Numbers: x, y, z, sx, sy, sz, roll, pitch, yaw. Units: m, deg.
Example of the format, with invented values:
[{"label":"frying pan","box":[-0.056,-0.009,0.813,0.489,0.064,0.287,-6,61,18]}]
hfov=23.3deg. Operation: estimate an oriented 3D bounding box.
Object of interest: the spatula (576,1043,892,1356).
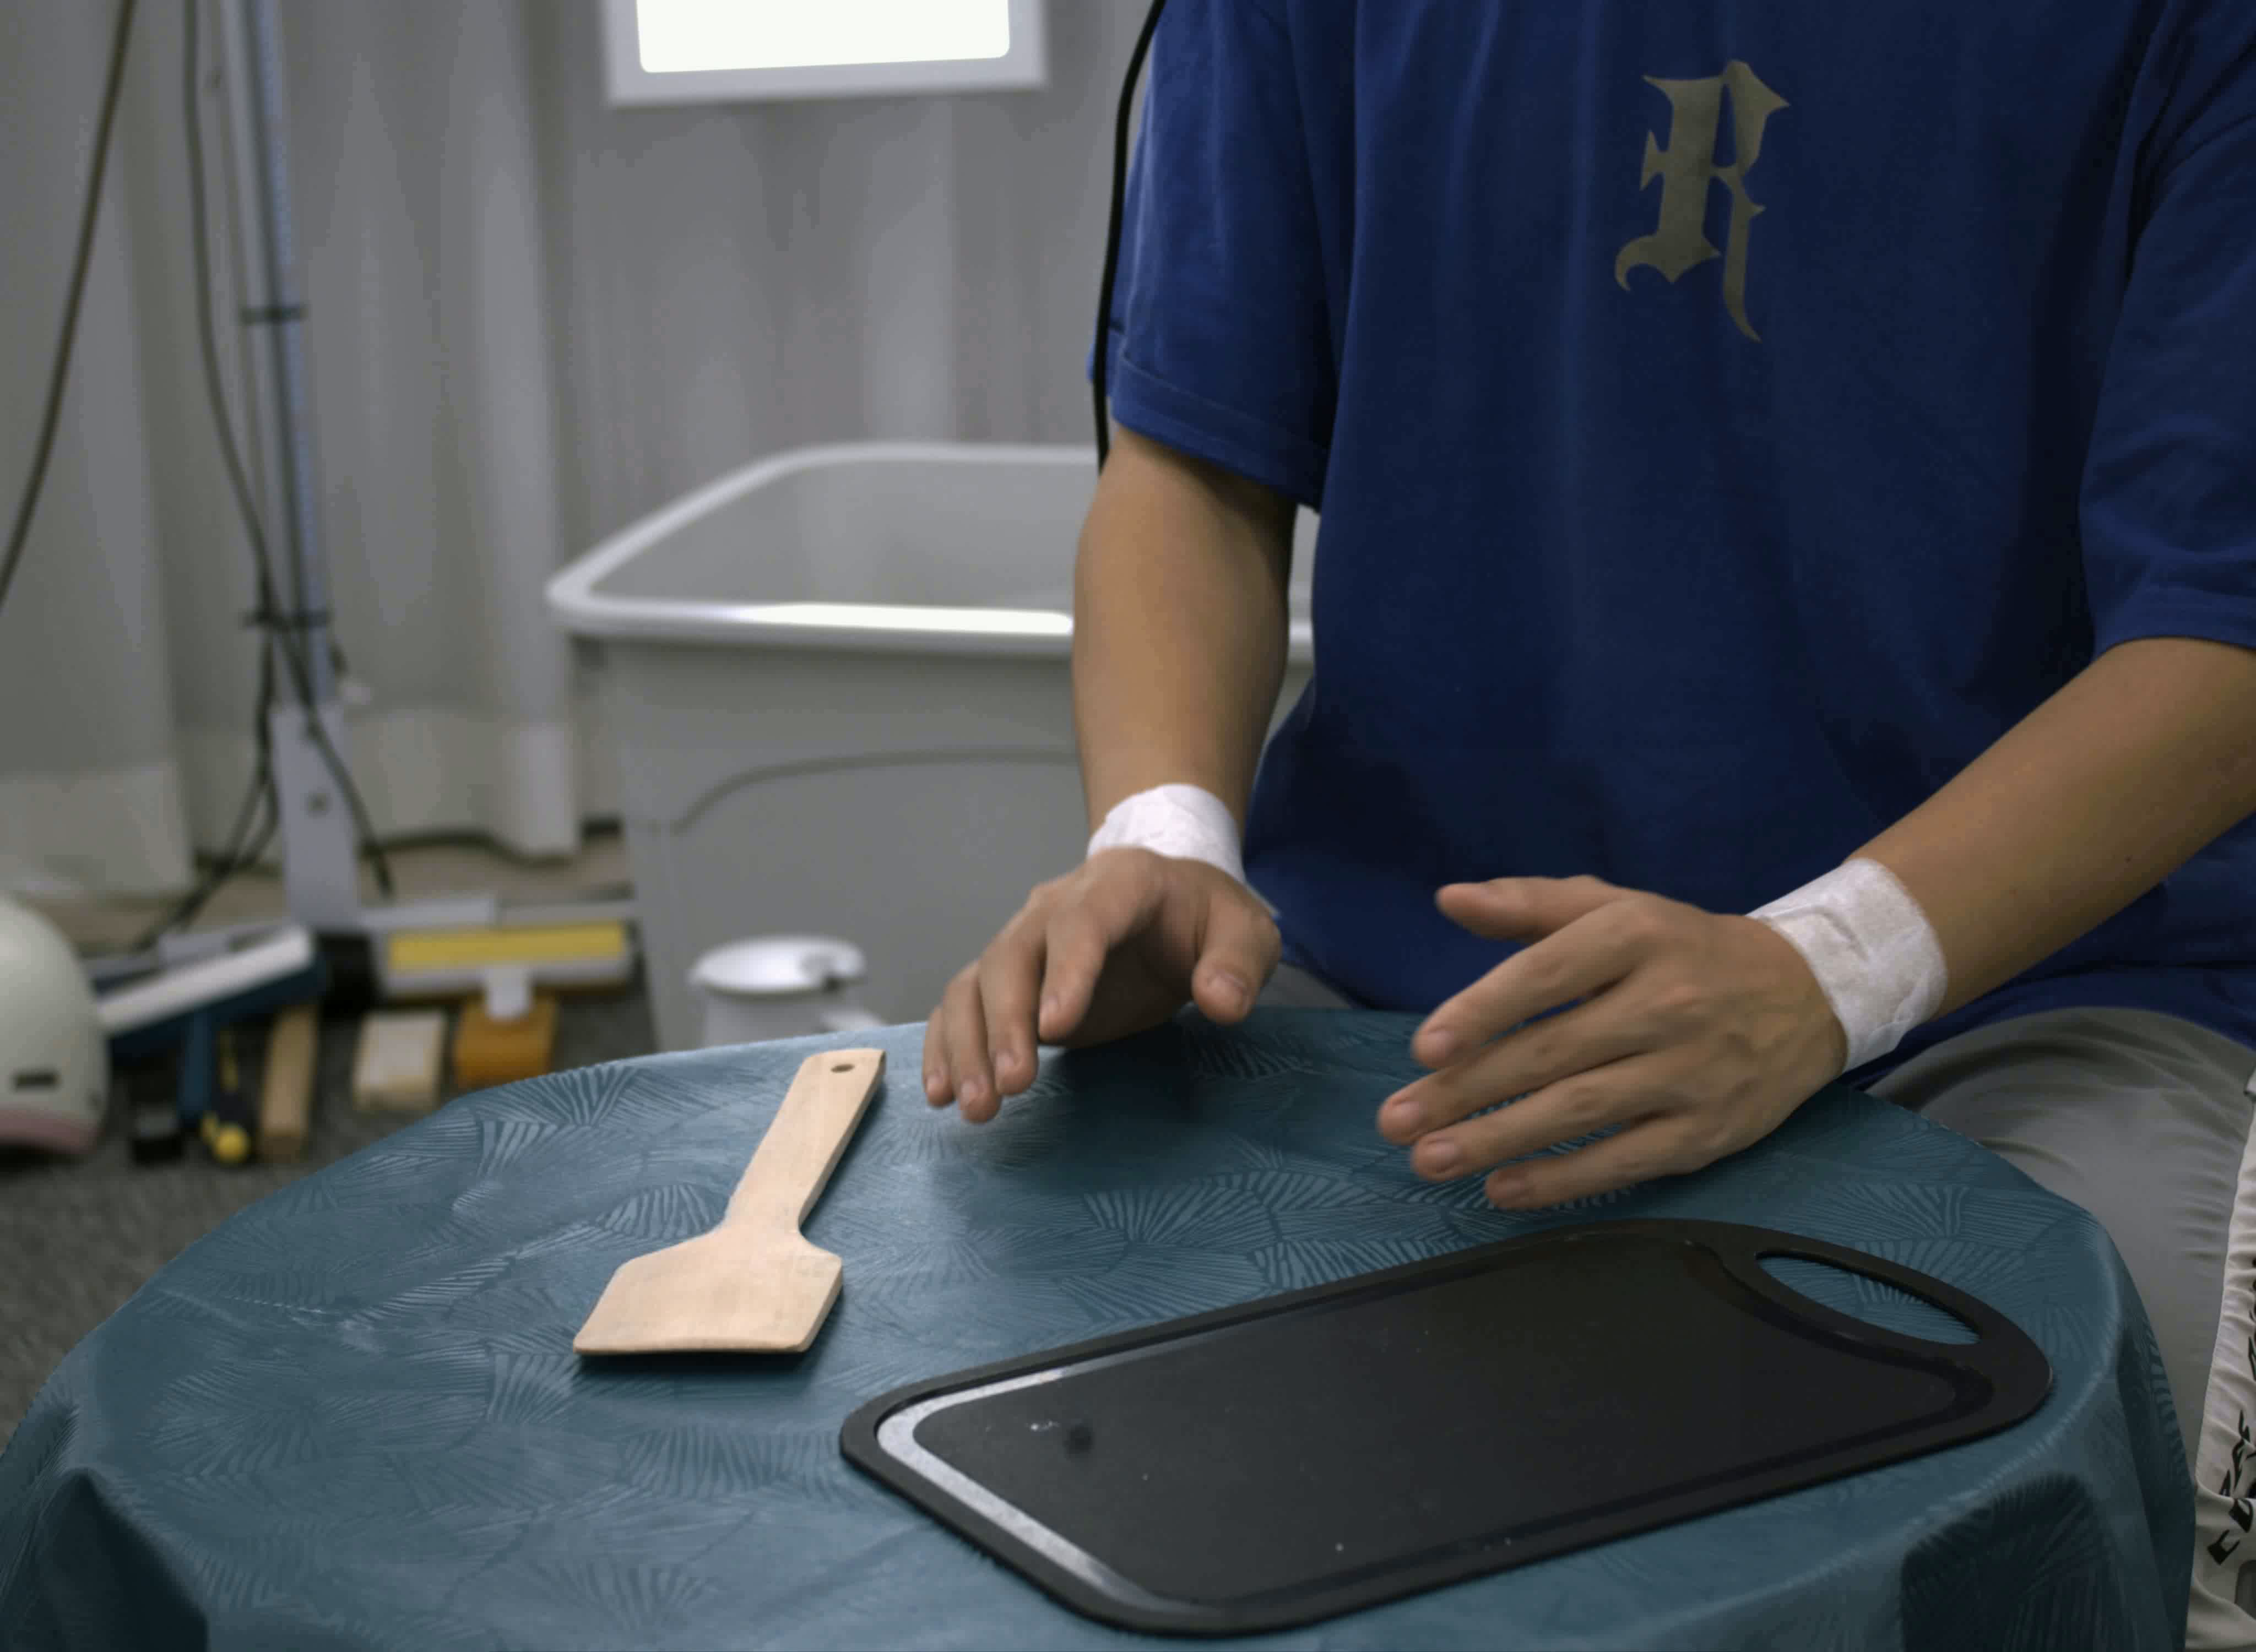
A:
[{"label":"spatula","box":[-0.110,0.115,1.713,0.072,0.010,0.295,-2,15,7]}]

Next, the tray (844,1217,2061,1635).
[{"label":"tray","box":[0.096,0.158,1.515,0.324,0.010,0.213,-11,17,-27]}]
